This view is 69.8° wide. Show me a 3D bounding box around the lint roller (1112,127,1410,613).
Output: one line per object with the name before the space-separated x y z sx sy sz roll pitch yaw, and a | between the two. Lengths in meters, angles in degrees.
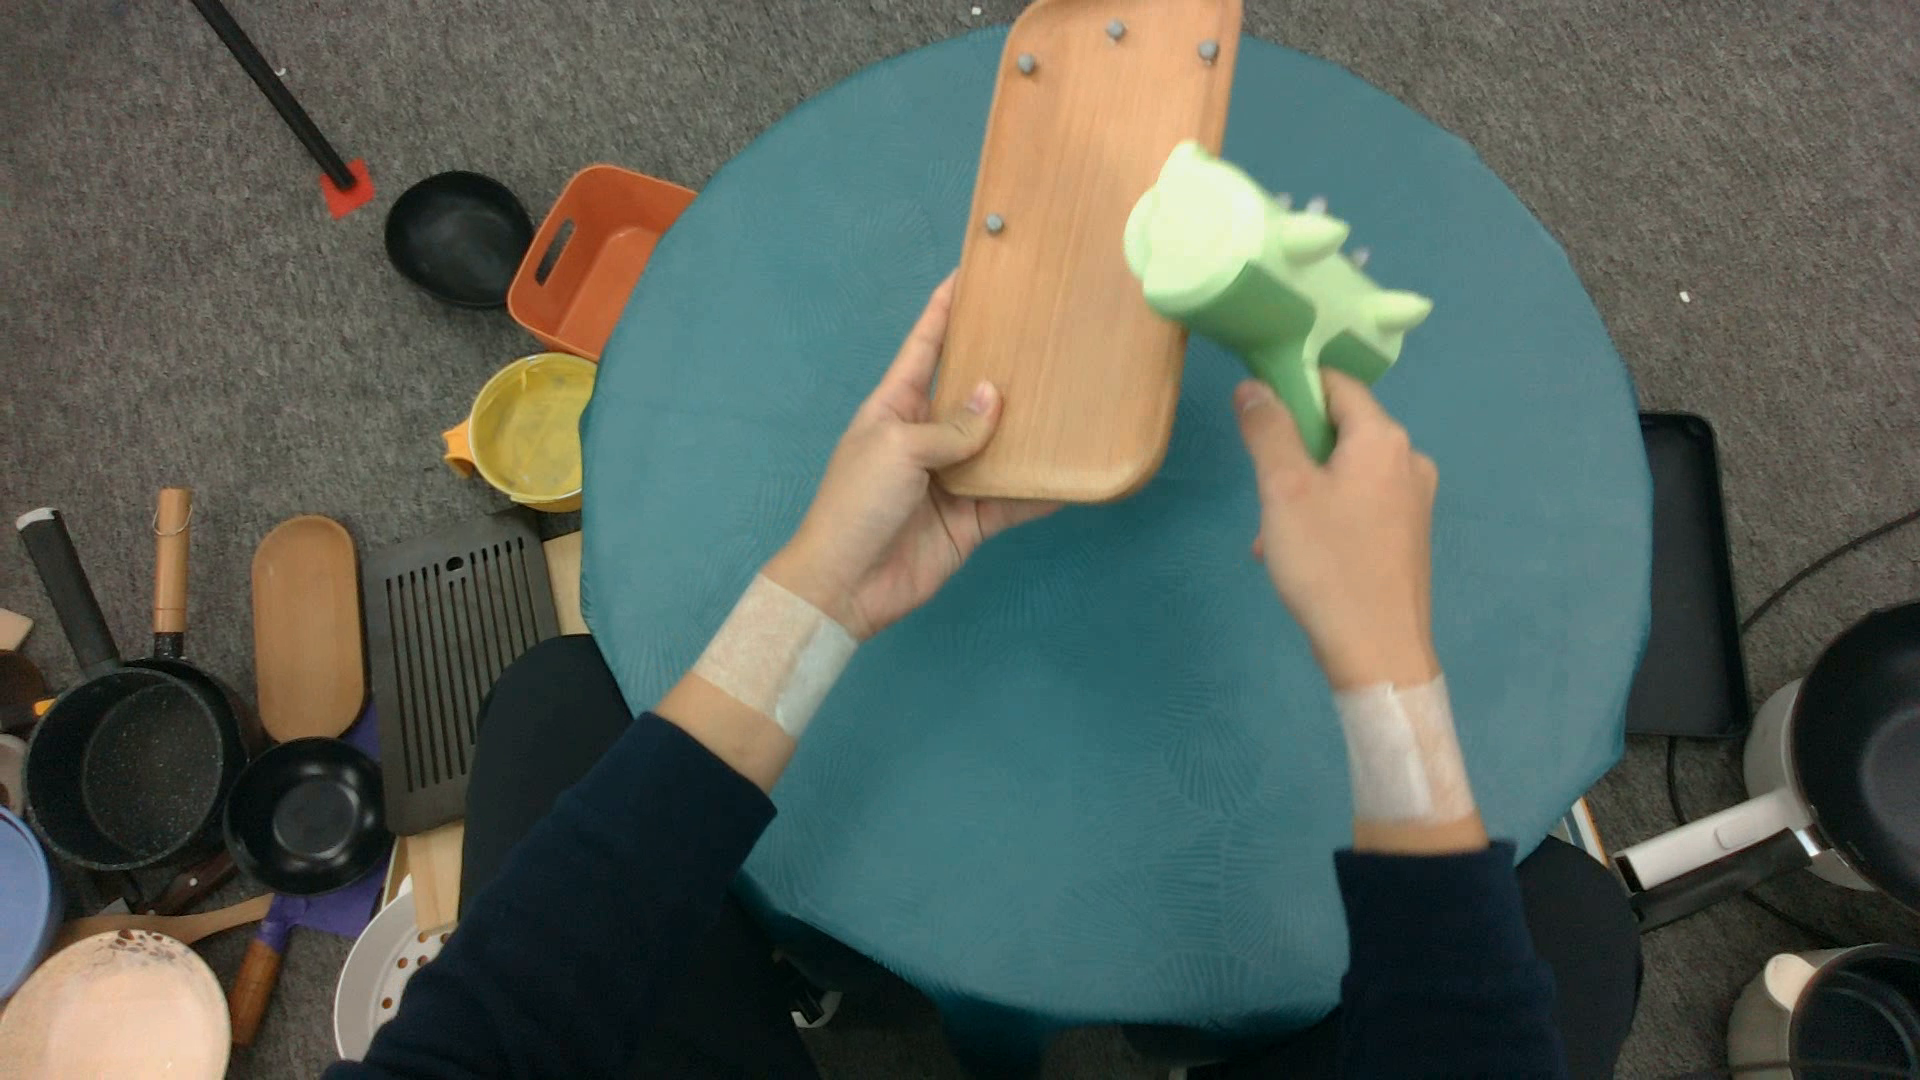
lint roller | 0.151 -0.067 0.572 0.082 0.199 0.183 -29 71 28

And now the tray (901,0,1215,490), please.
tray | 0.045 -0.142 0.622 0.130 0.023 0.251 1 77 39
